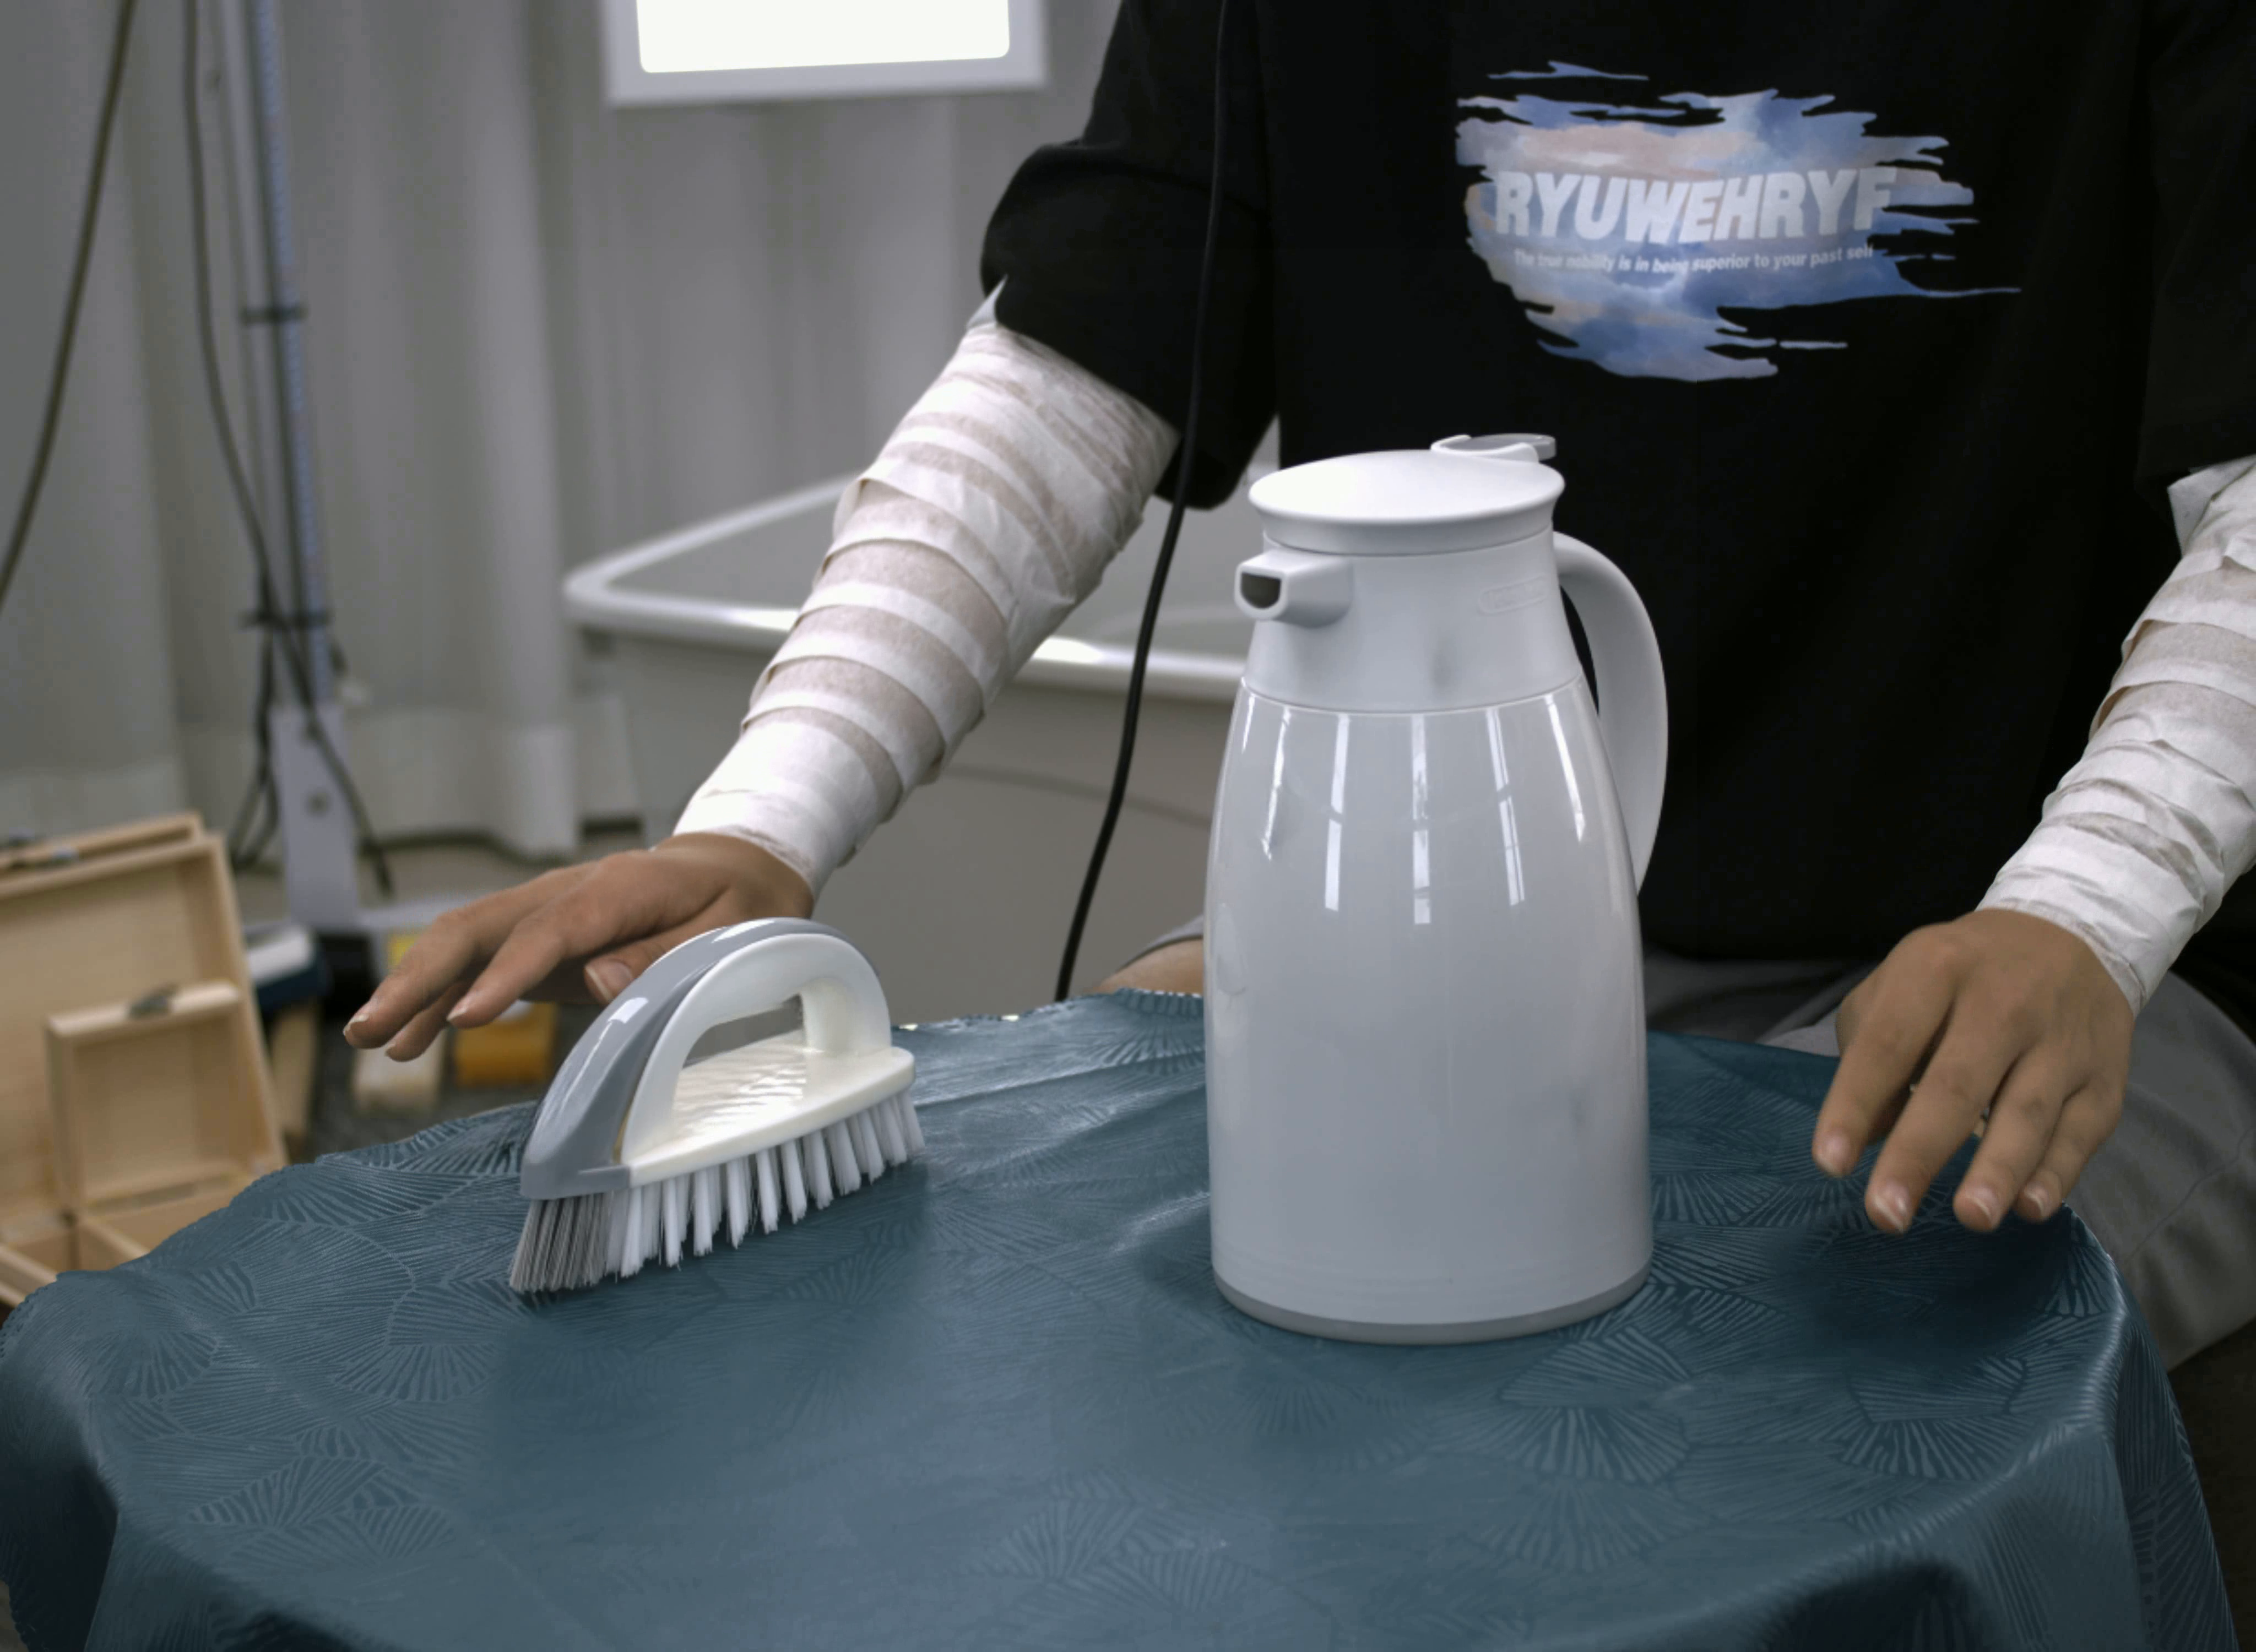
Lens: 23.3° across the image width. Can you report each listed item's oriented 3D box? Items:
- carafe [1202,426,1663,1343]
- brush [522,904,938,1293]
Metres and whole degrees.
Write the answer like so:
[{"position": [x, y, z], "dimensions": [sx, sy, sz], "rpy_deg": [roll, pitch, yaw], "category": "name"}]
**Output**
[{"position": [0.097, 0.009, 1.614], "dimensions": [0.133, 0.248, 0.167], "rpy_deg": [10, 18, 43], "category": "carafe"}, {"position": [-0.131, 0.080, 1.691], "dimensions": [0.061, 0.094, 0.175], "rpy_deg": [4, 17, 35], "category": "brush"}]
